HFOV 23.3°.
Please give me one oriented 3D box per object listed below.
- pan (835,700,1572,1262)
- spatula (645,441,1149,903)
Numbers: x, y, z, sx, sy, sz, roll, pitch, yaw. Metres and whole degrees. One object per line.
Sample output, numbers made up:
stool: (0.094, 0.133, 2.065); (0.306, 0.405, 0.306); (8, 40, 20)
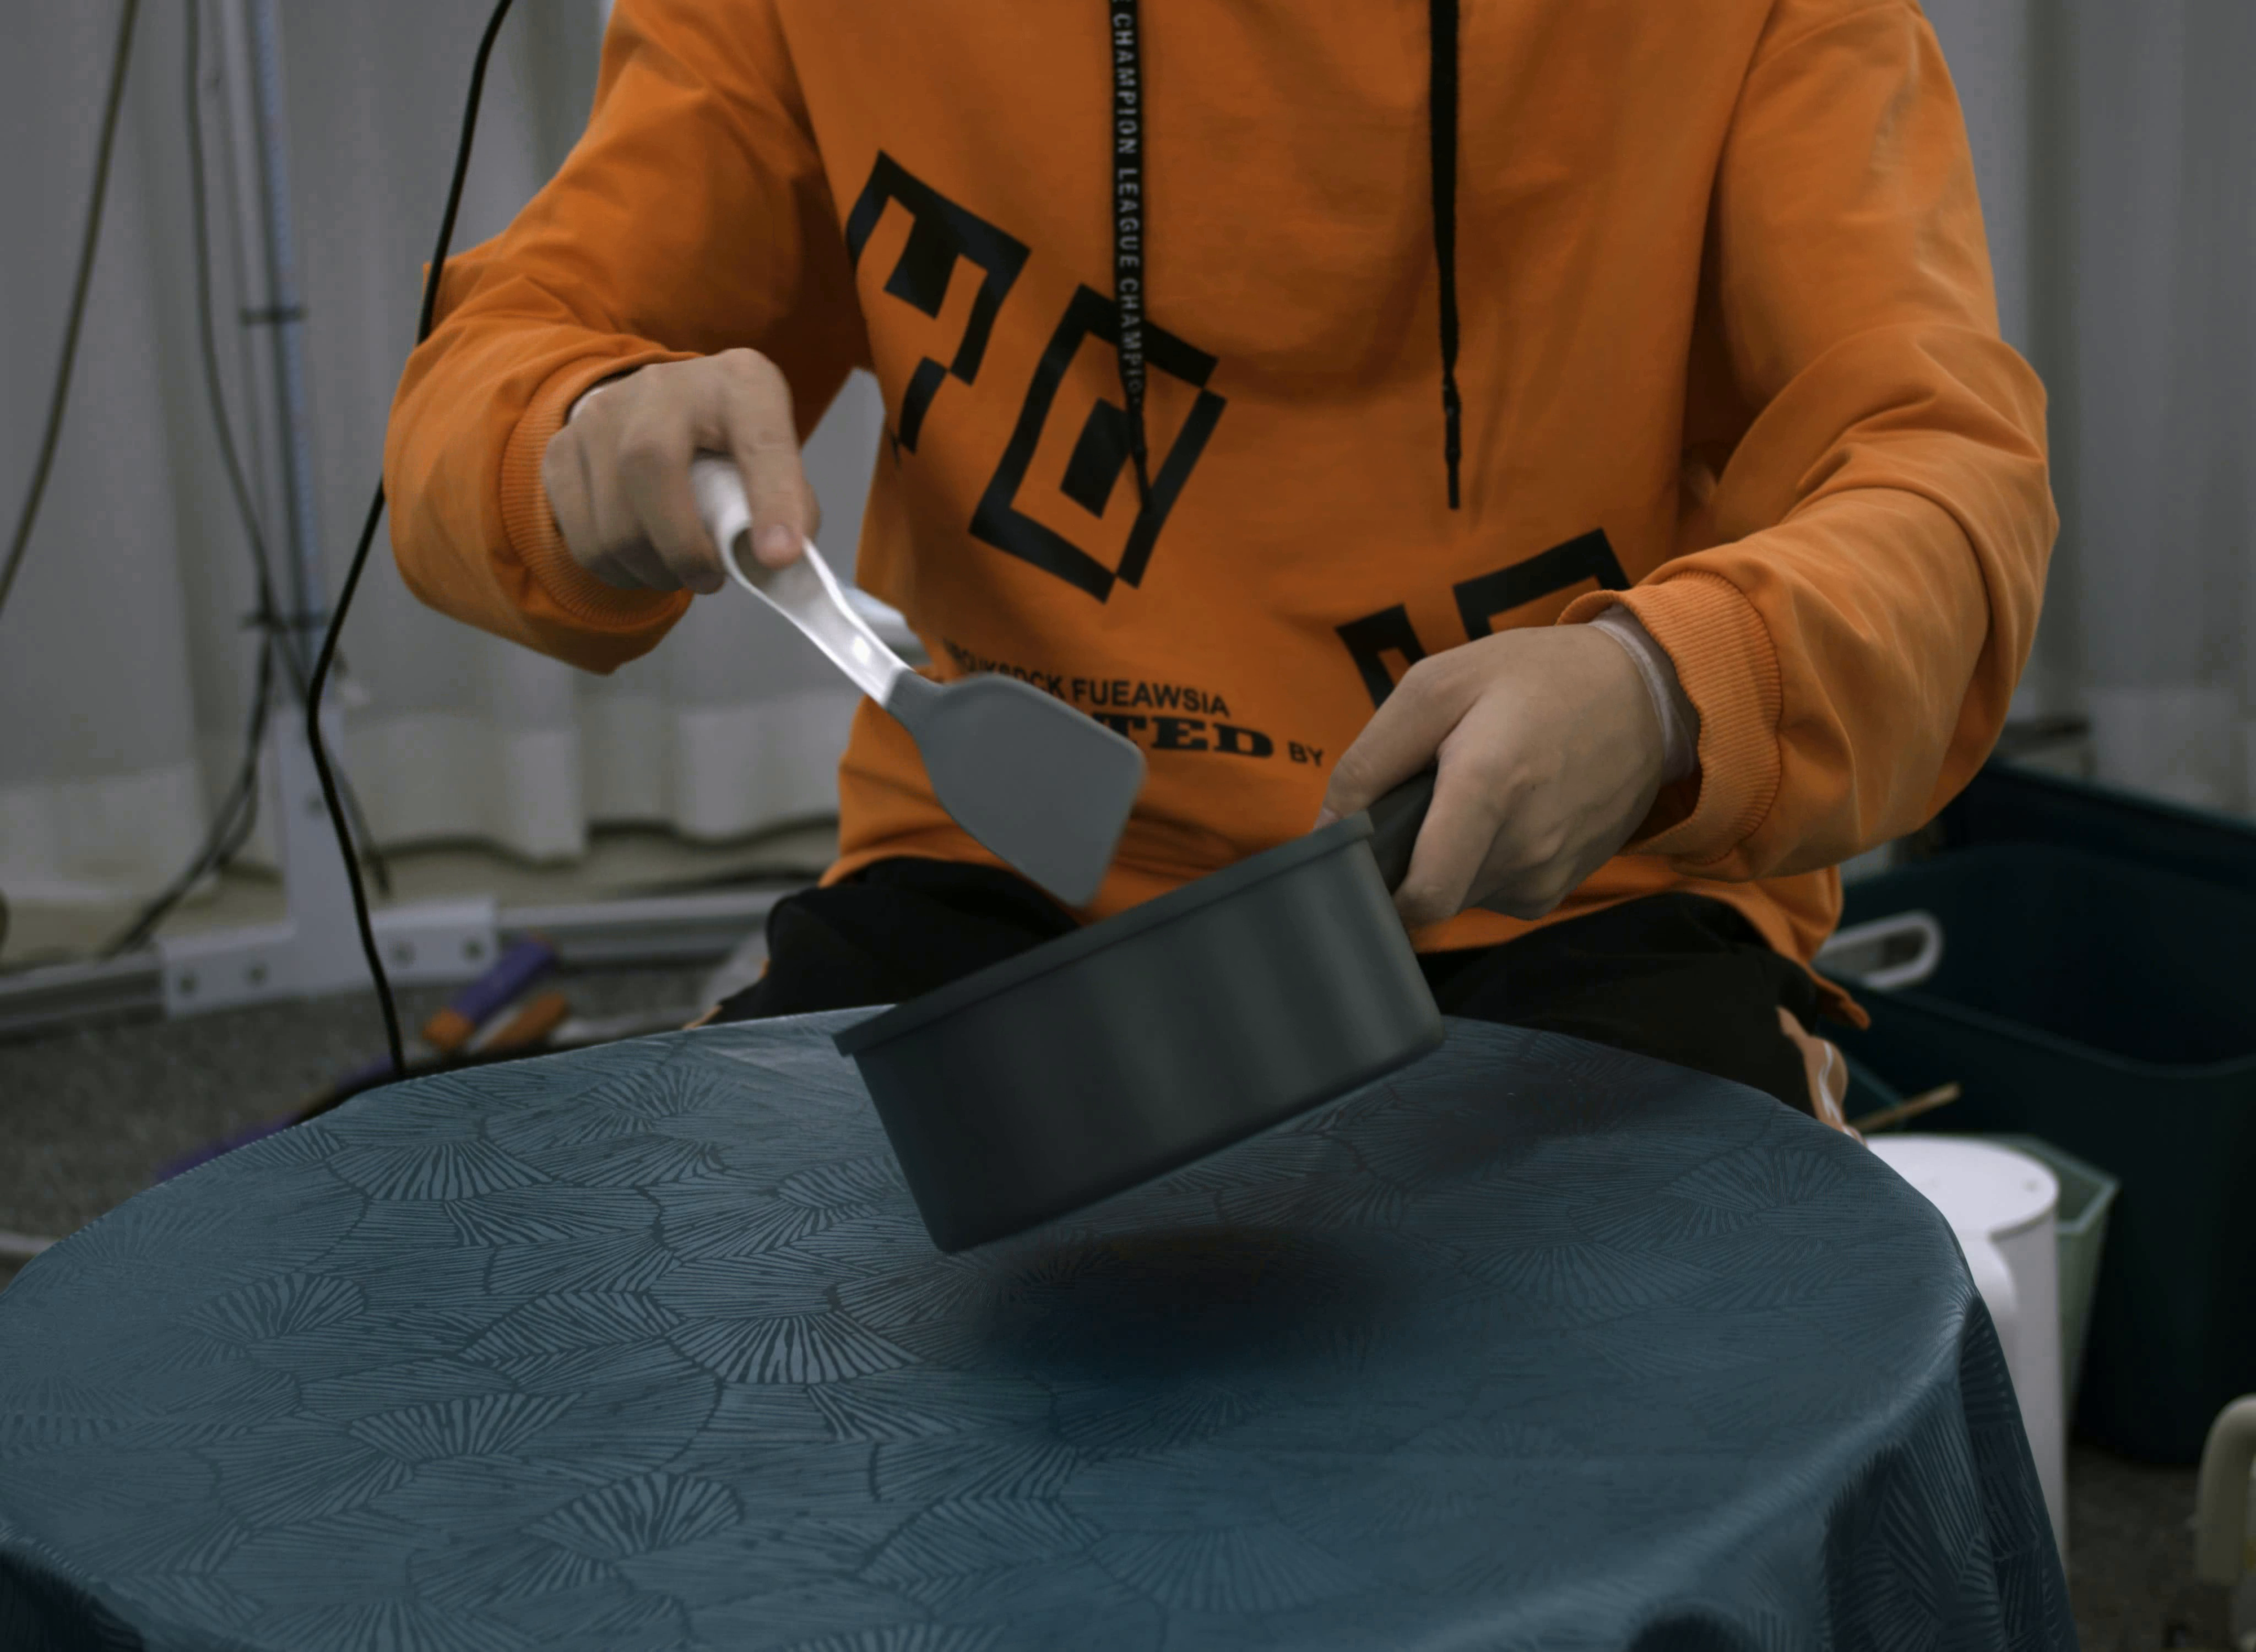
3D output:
pan: (0.051, 0.042, 1.664); (0.171, 0.086, 0.329); (-23, 1, 38)
spatula: (-0.077, -0.056, 1.689); (0.032, 0.058, 0.291); (21, 11, -36)
